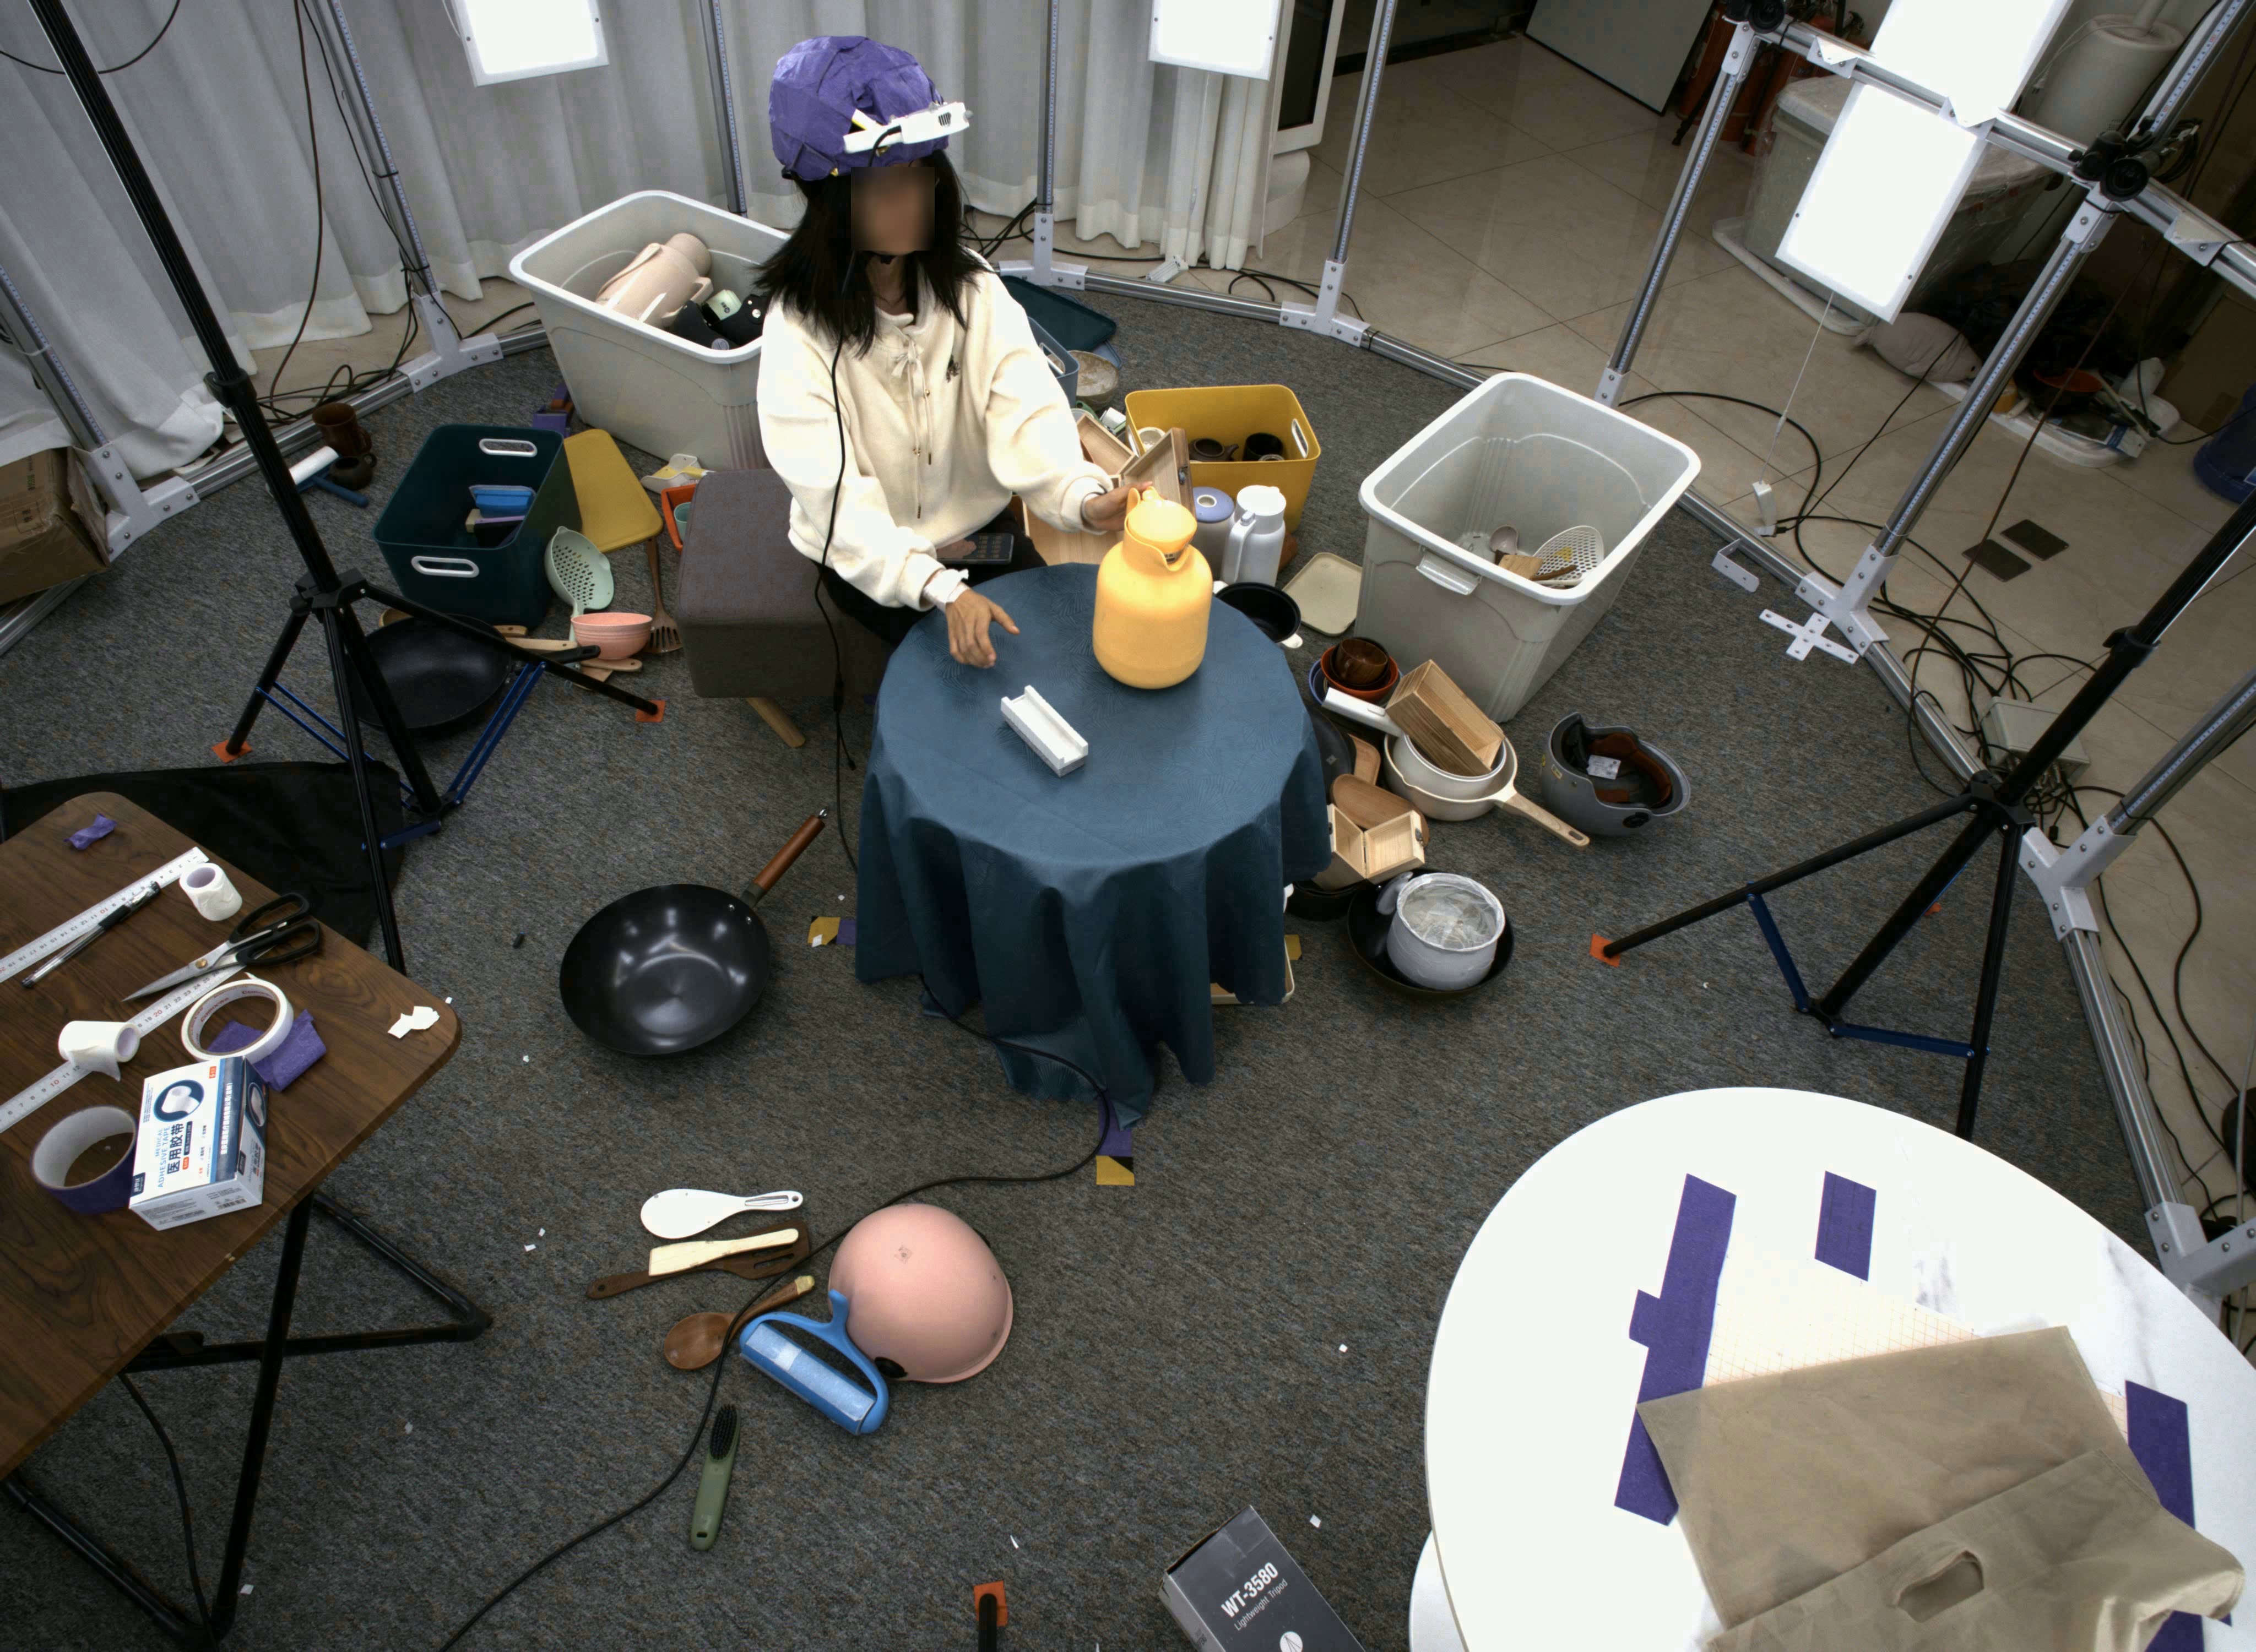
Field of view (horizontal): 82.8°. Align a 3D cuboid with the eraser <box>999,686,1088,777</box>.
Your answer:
[{"bbox_3d":[-0.115,-0.129,1.744,0.050,0.045,0.136,-33,60,-24],"label":"eraser"}]

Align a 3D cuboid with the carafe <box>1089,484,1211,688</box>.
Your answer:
[{"bbox_3d":[0.031,-0.342,1.798,0.163,0.254,0.207,-5,51,-13],"label":"carafe"}]
